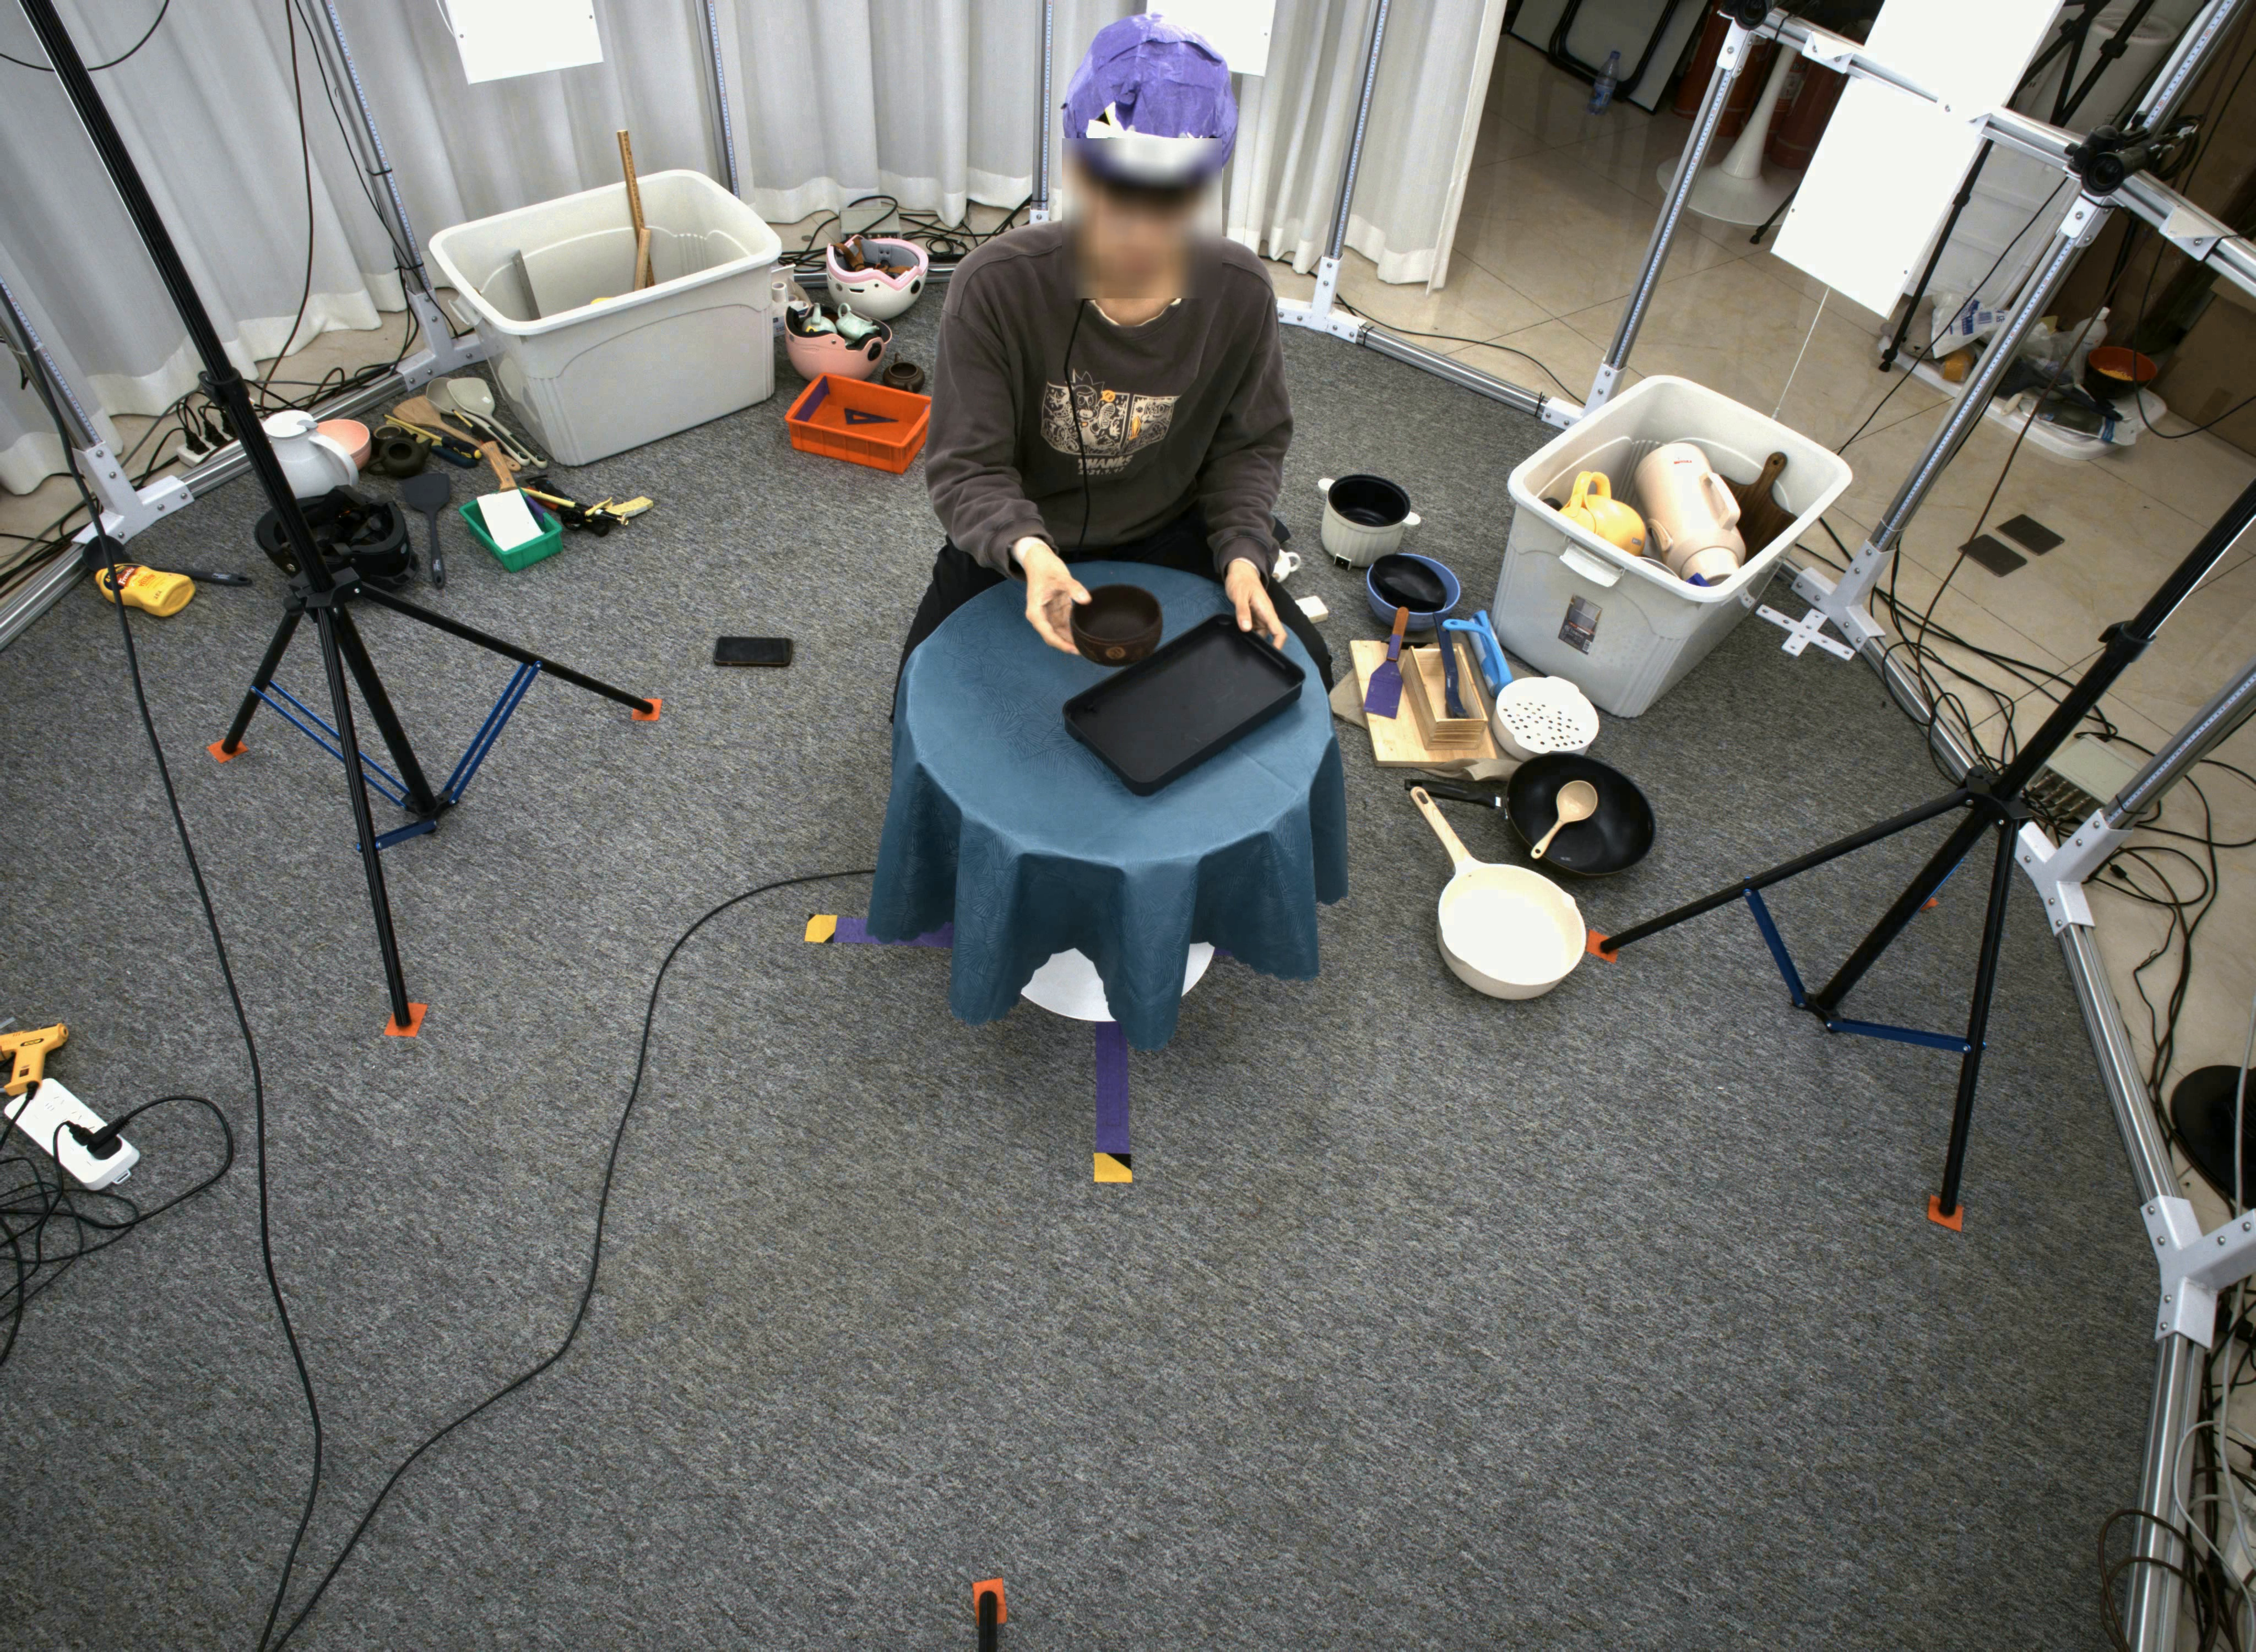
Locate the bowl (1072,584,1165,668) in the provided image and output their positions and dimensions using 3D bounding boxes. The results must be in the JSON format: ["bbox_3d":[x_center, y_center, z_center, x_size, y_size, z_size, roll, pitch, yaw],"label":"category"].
[{"bbox_3d":[-0.012,-0.246,1.632,0.118,0.068,0.121,-2,44,1],"label":"bowl"}]

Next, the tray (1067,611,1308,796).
[{"bbox_3d":[0.085,-0.177,1.792,0.320,0.036,0.187,-35,58,-25],"label":"tray"}]
